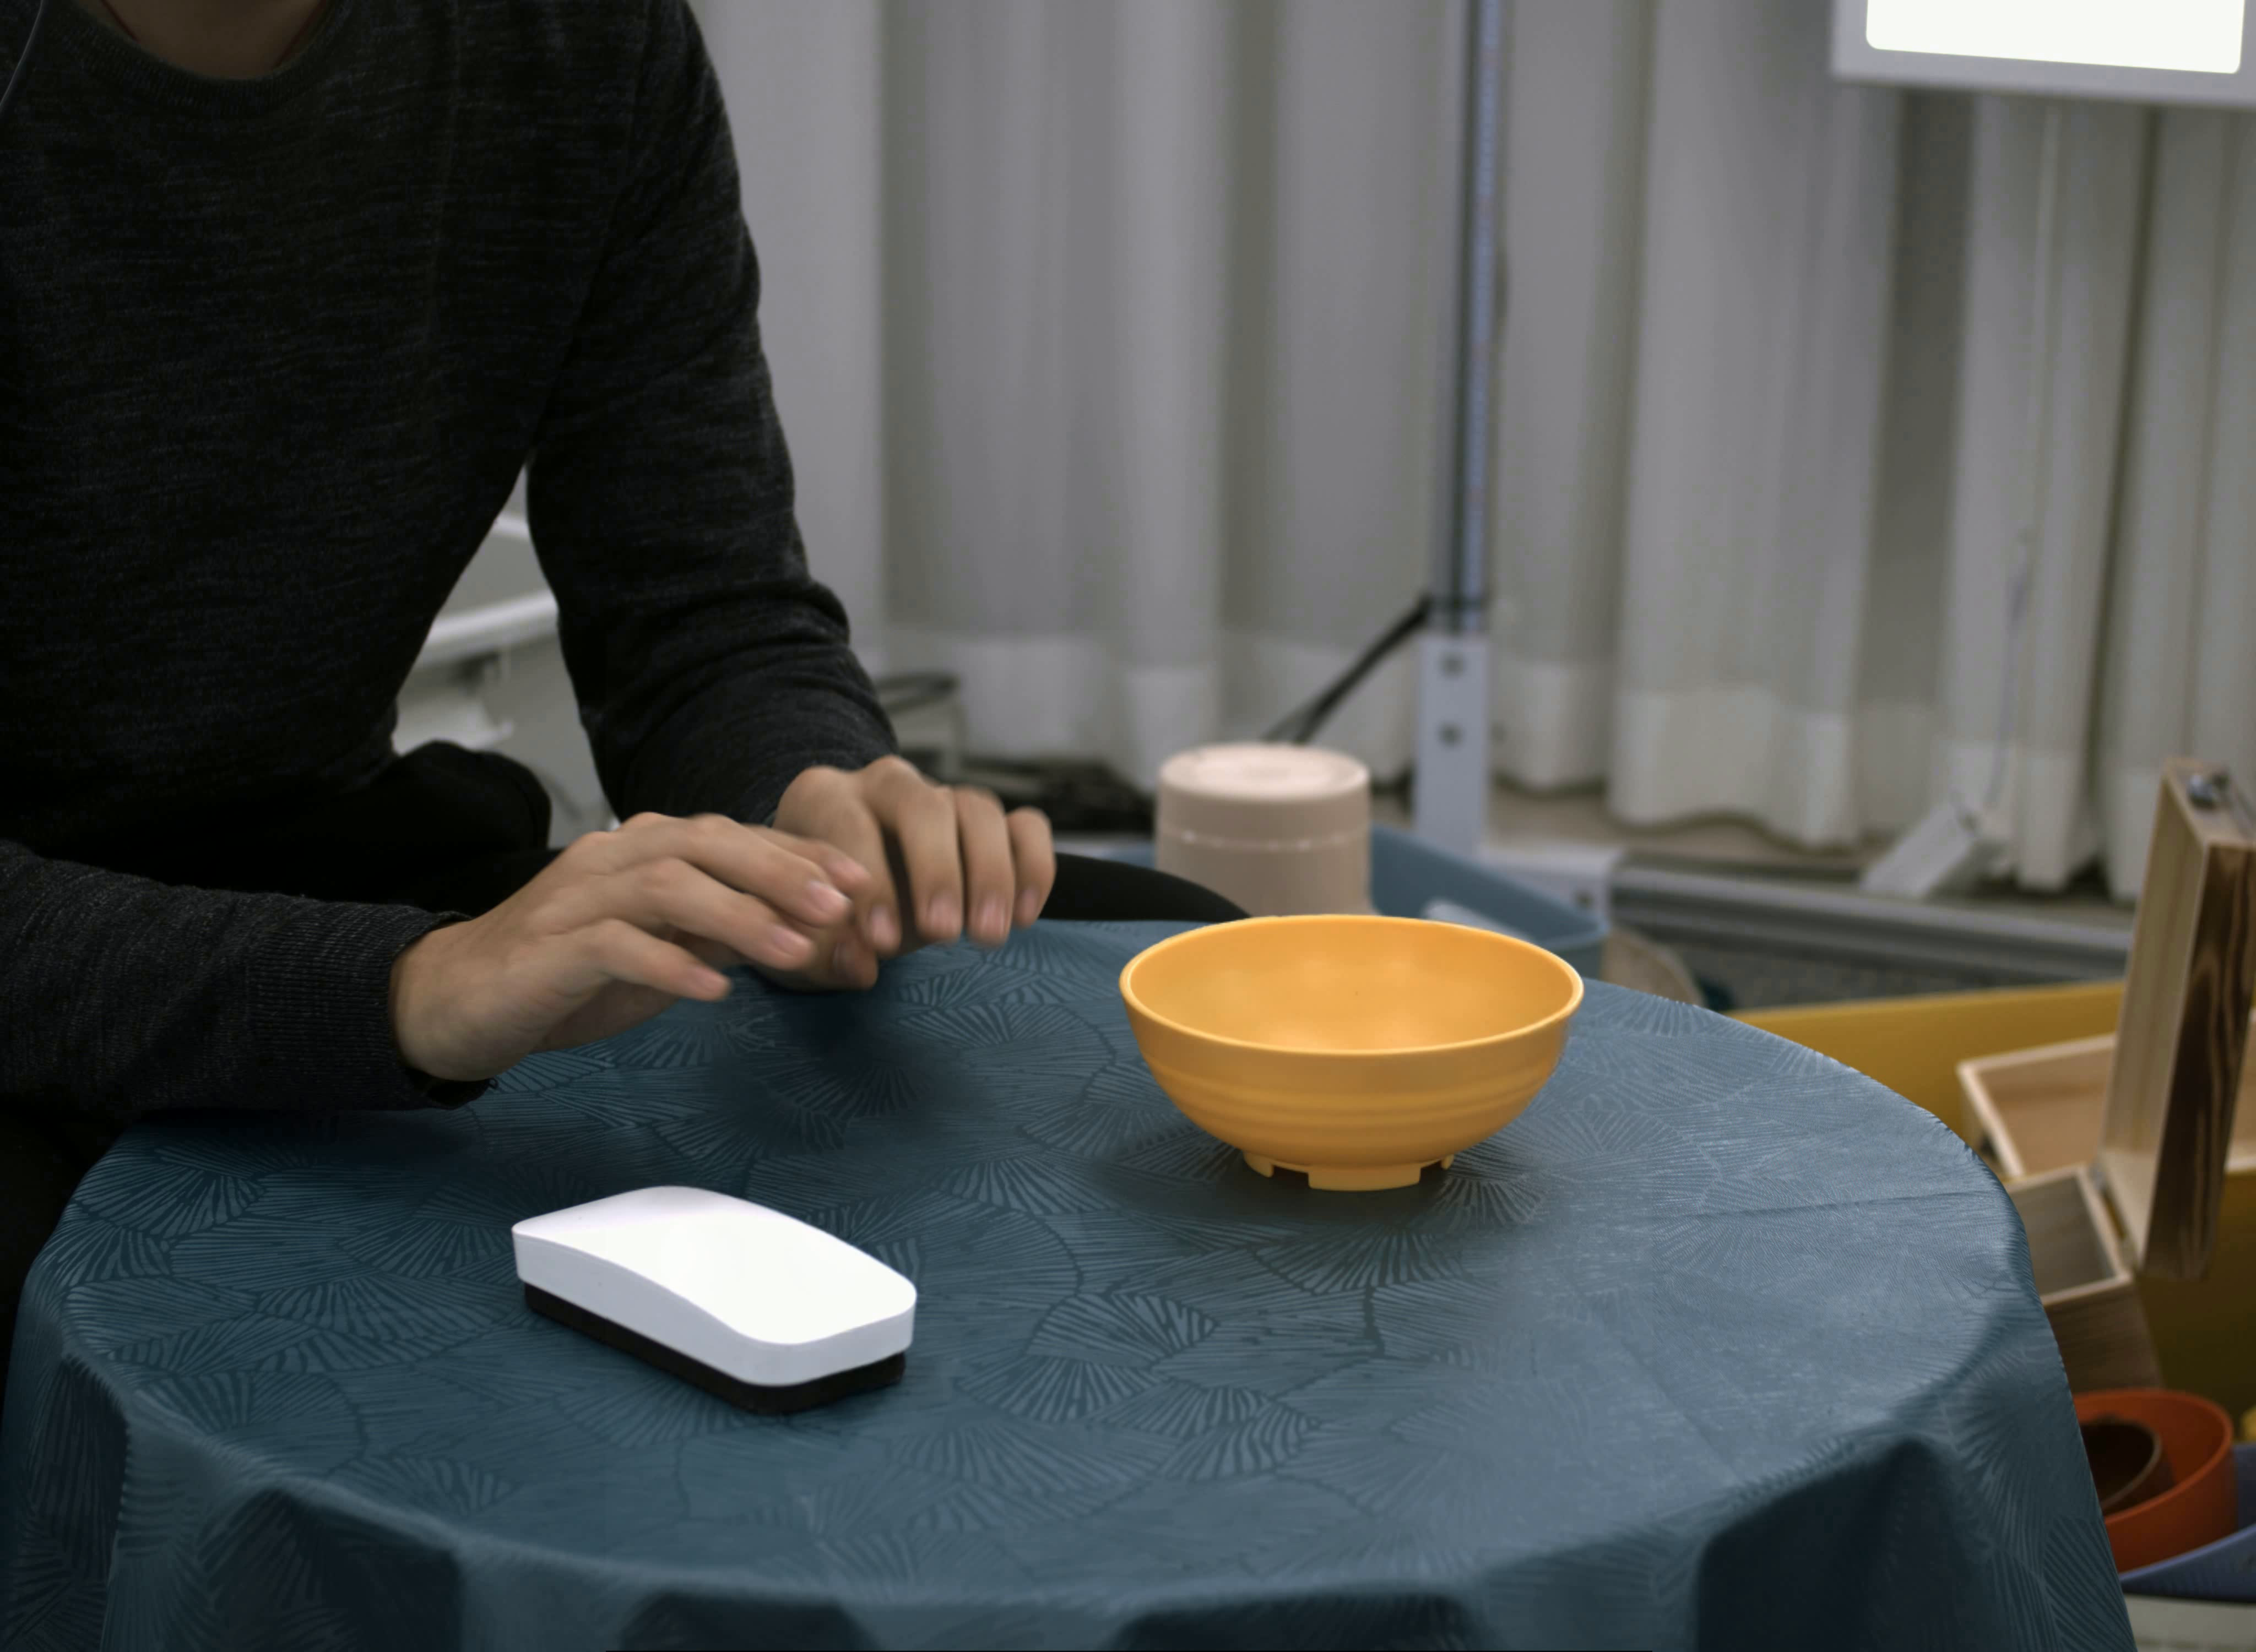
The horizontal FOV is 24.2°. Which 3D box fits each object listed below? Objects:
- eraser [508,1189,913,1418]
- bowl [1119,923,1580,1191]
[{"bbox_3d":[-0.118,0.131,1.492,0.064,0.035,0.129,-12,21,-40],"label":"eraser"},{"bbox_3d":[0.068,0.076,1.644,0.145,0.060,0.144,1,14,0],"label":"bowl"}]
